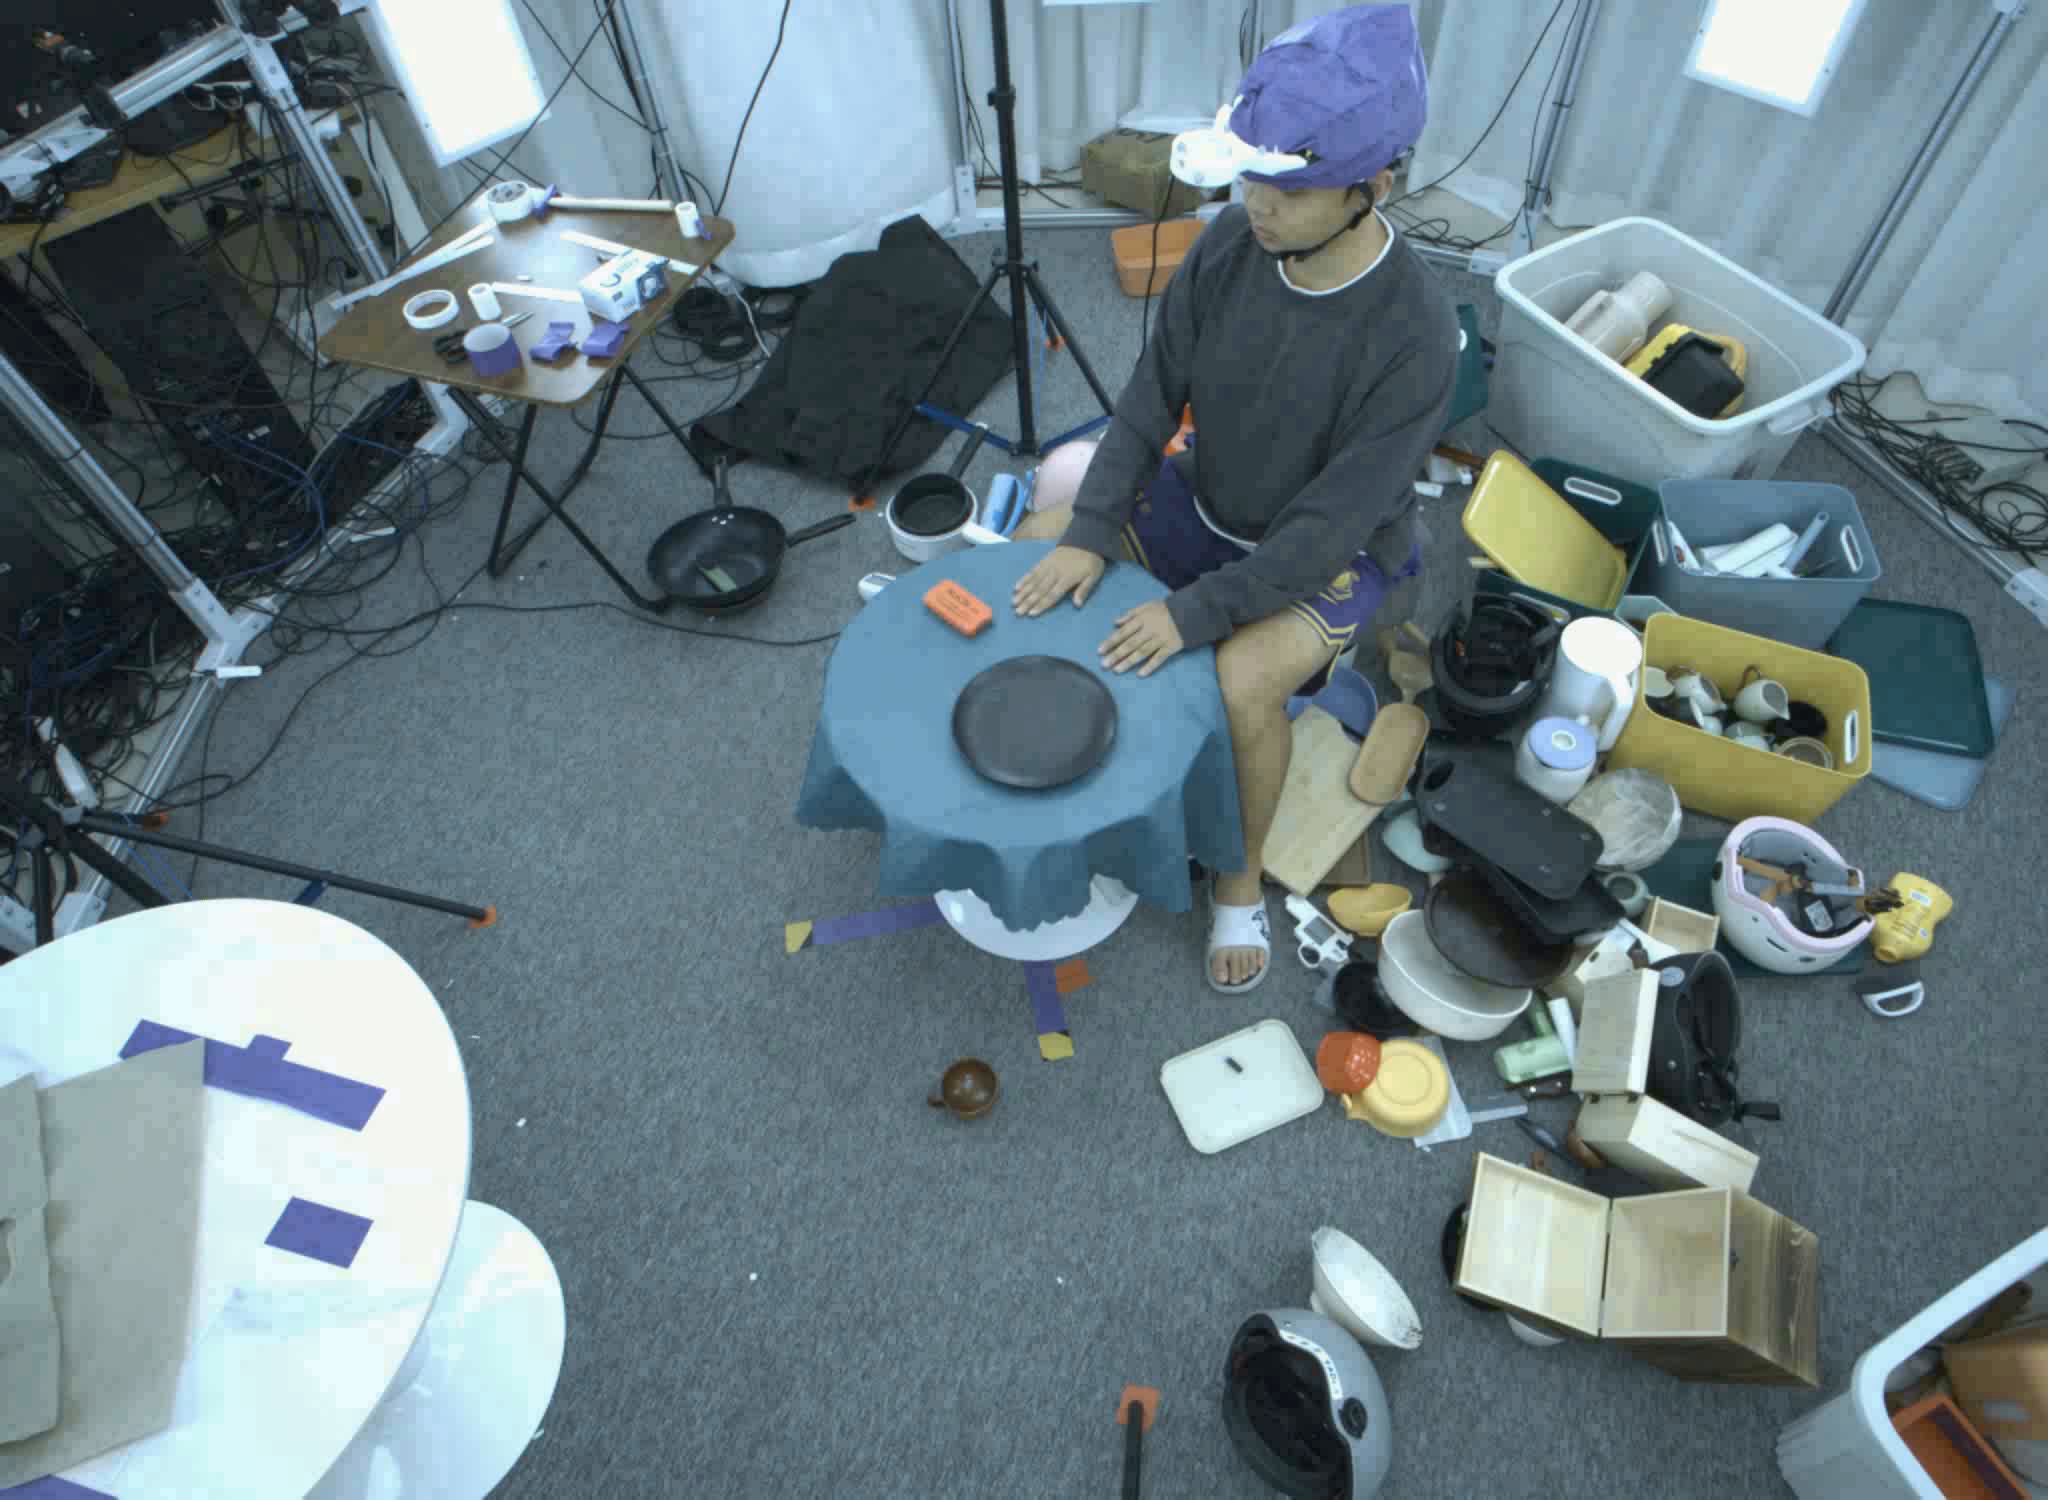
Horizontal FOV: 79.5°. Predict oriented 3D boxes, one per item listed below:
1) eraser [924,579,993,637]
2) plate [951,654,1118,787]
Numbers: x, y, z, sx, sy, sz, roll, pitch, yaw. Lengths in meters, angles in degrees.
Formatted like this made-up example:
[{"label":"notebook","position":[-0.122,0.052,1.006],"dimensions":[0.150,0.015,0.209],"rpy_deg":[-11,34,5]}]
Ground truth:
[{"label":"eraser","position":[-0.105,-0.225,1.935],"dimensions":[0.106,0.023,0.059],"rpy_deg":[38,65,23]},{"label":"plate","position":[0.015,-0.041,1.805],"dimensions":[0.244,0.024,0.242],"rpy_deg":[0,55,2]}]
